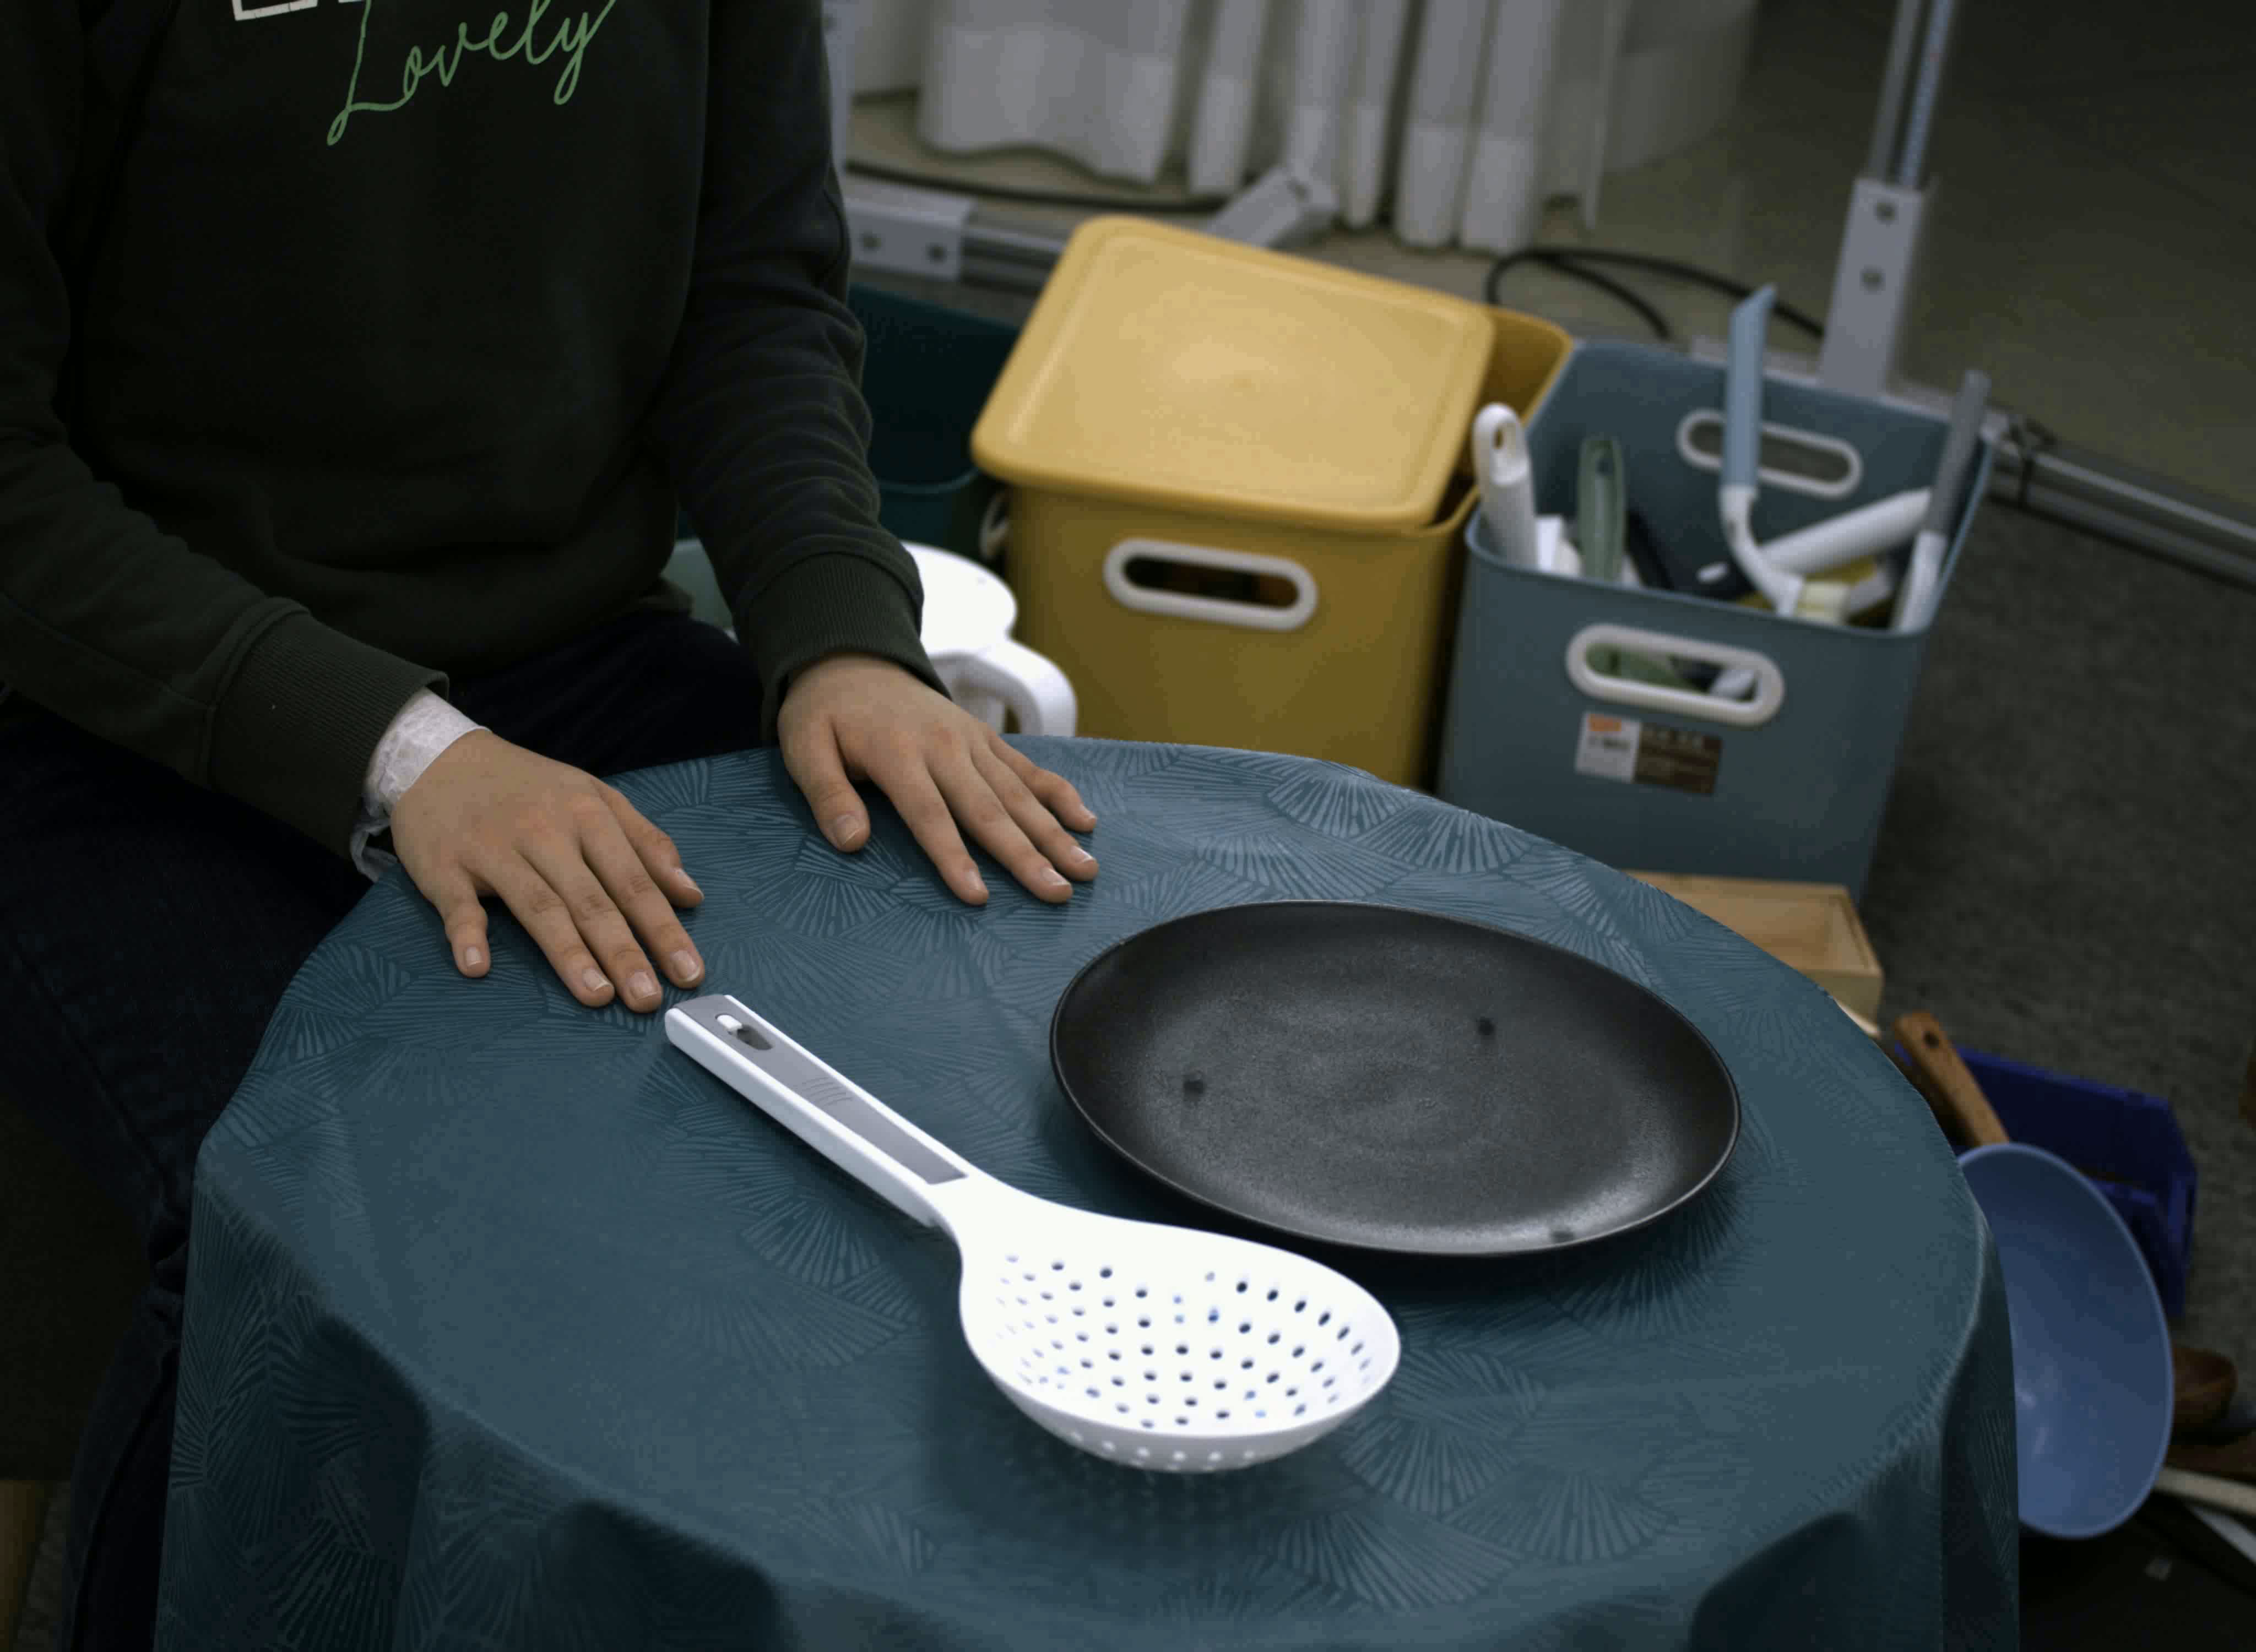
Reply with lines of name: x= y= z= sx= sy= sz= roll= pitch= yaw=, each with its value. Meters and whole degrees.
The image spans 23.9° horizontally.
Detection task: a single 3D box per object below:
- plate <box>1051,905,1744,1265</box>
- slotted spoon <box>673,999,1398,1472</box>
plate: x=0.093 y=0.093 z=1.855 sx=0.243 sy=0.023 sz=0.246 roll=5 pitch=27 yaw=-3
slotted spoon: x=-0.048 y=0.127 z=1.733 sx=0.135 sy=0.045 sz=0.353 roll=-11 pitch=30 yaw=-35
